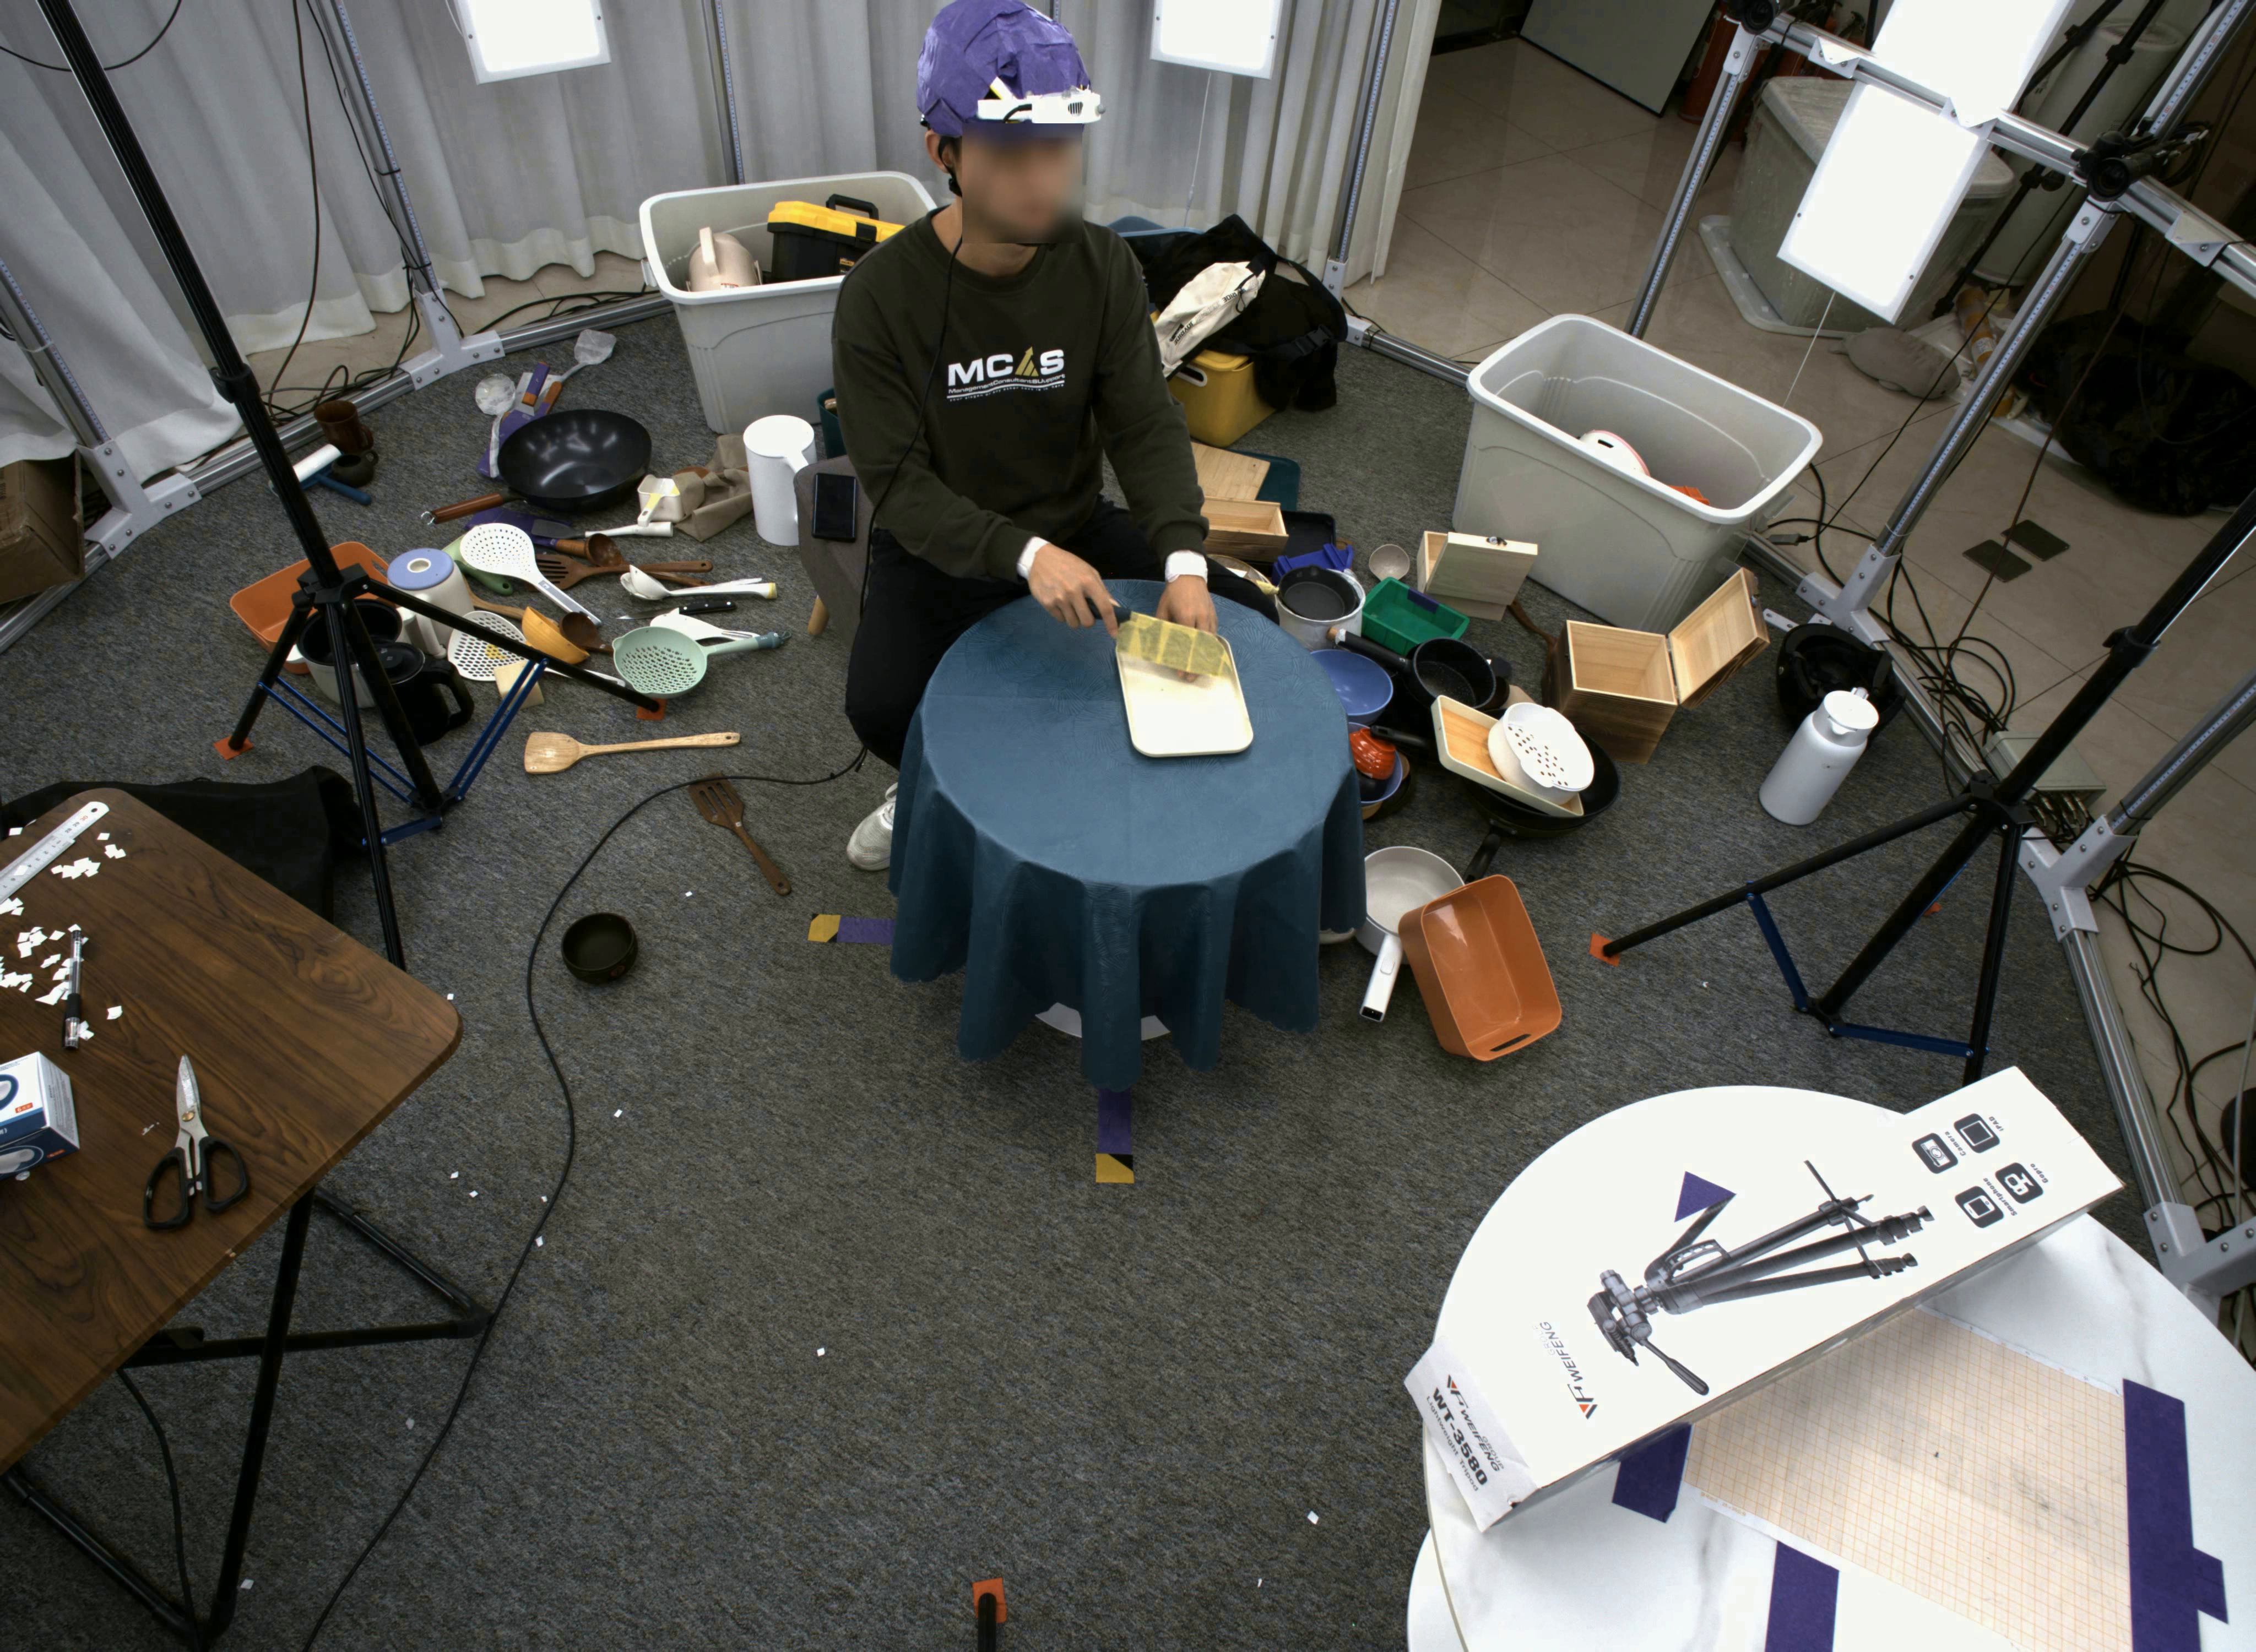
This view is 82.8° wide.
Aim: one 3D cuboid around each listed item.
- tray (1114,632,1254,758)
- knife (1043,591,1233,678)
[{"bbox_3d":[0.076,-0.188,1.824,0.171,0.017,0.246,-4,49,-7],"label":"tray"},{"bbox_3d":[0.013,-0.271,1.823,0.290,0.079,0.028,21,38,8],"label":"knife"}]
